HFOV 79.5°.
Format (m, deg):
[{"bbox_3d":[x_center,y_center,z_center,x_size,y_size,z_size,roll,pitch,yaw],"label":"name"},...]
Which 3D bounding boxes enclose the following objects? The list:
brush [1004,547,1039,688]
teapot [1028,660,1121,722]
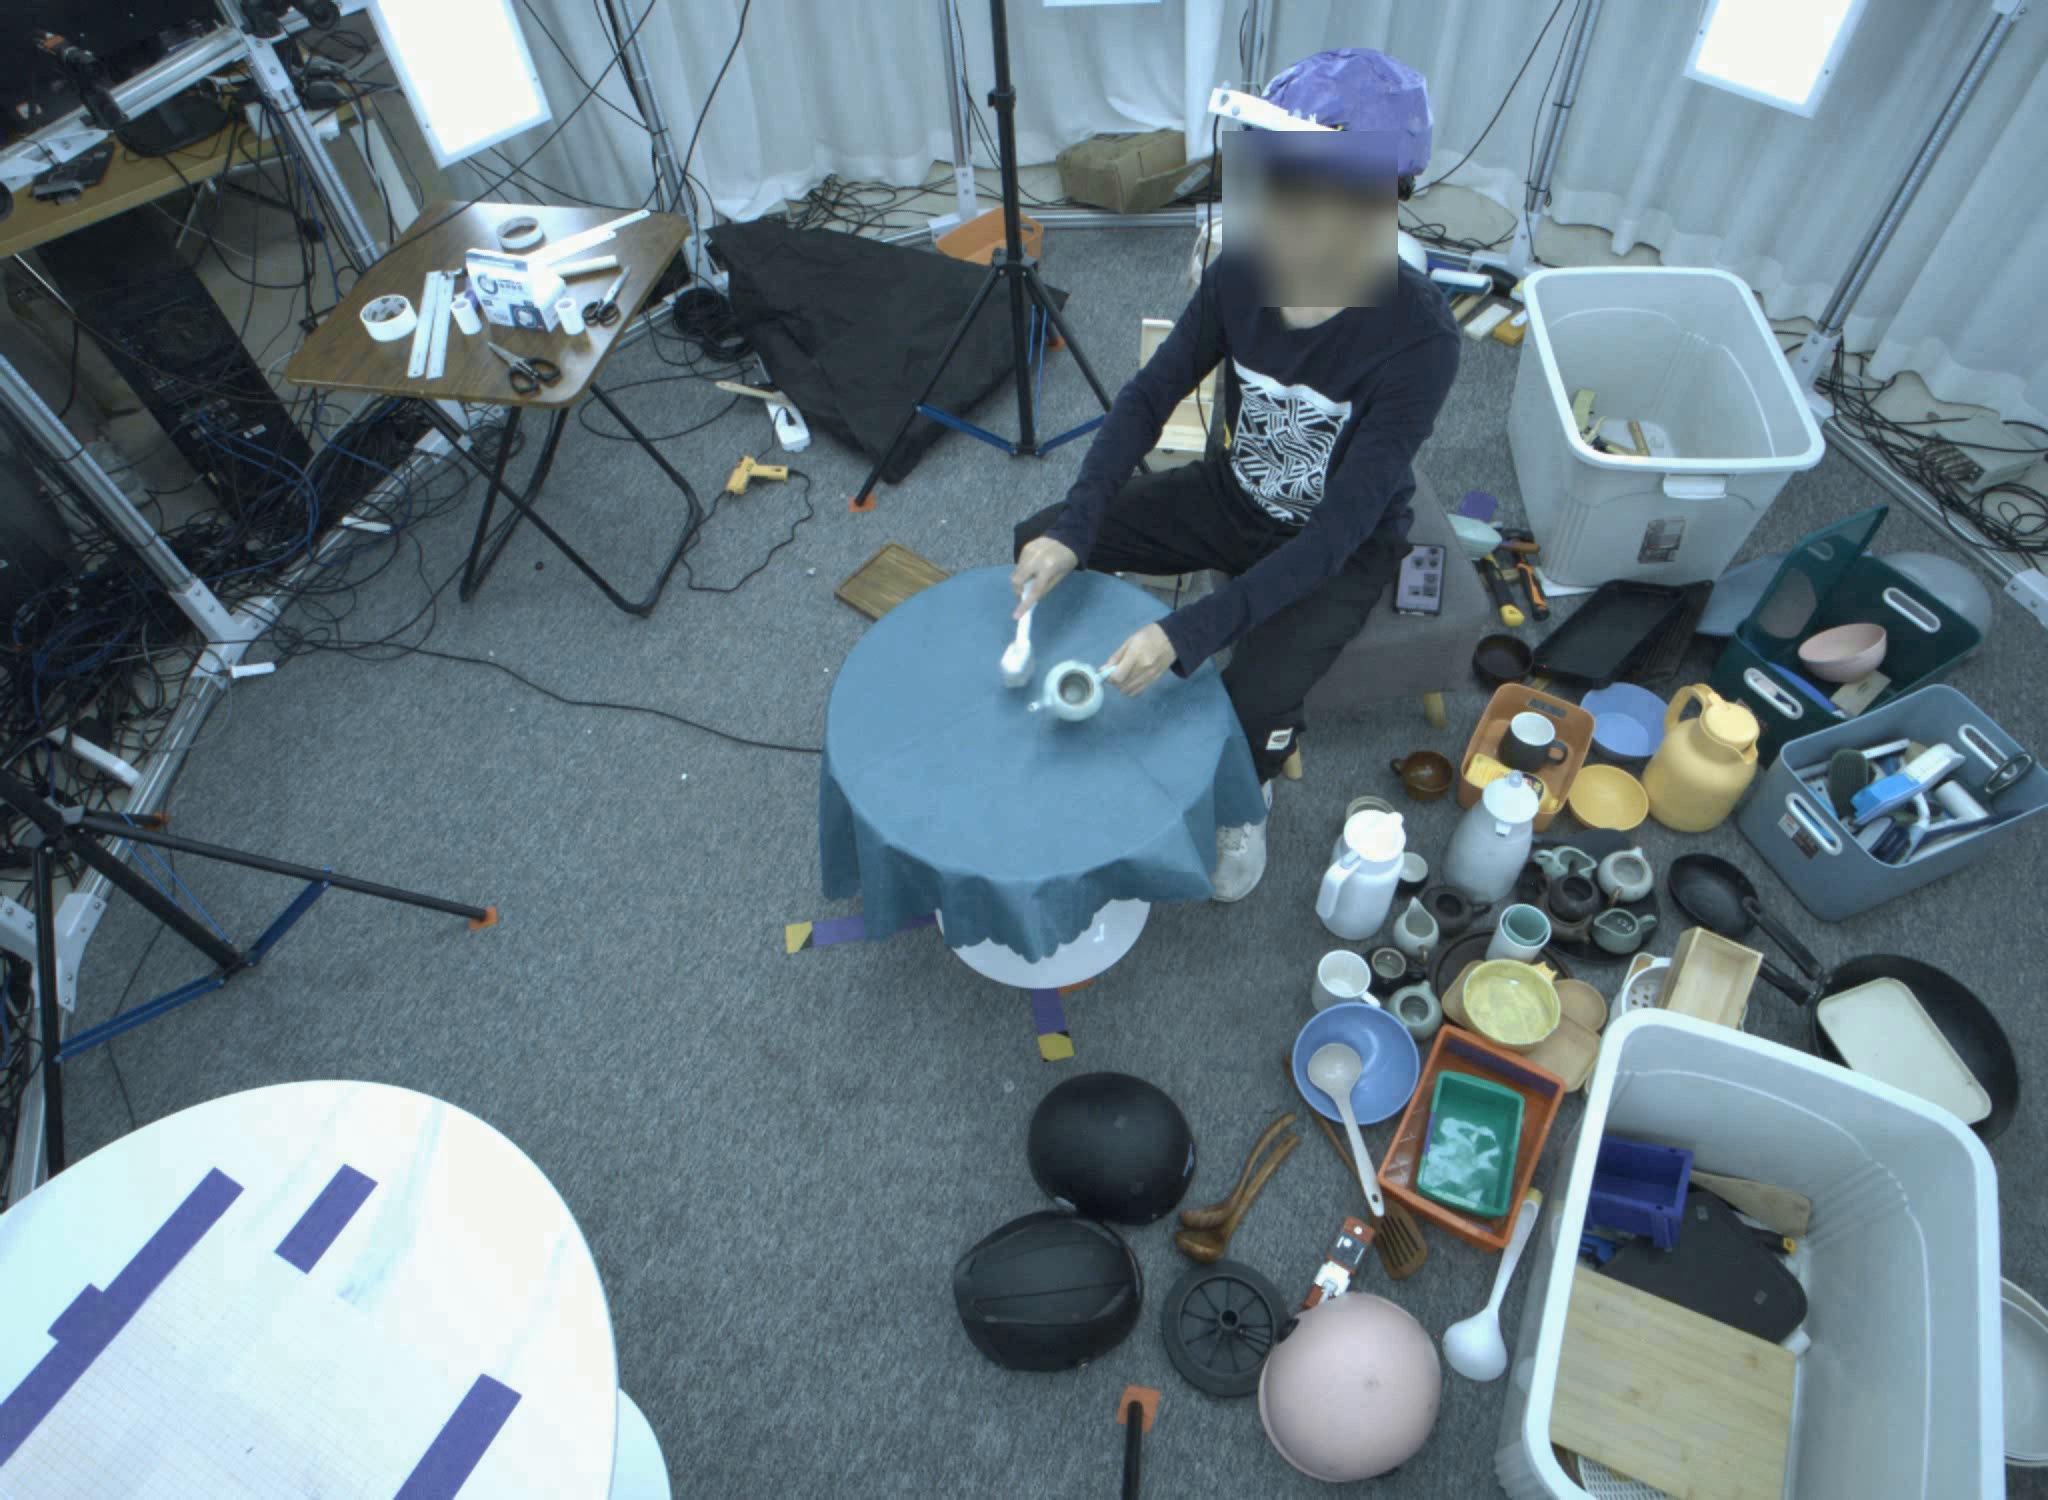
[{"bbox_3d":[0.008,-0.201,1.861,0.034,0.051,0.242,-8,57,27],"label":"brush"},{"bbox_3d":[0.072,-0.085,1.763,0.144,0.075,0.088,-23,87,-1],"label":"teapot"}]
